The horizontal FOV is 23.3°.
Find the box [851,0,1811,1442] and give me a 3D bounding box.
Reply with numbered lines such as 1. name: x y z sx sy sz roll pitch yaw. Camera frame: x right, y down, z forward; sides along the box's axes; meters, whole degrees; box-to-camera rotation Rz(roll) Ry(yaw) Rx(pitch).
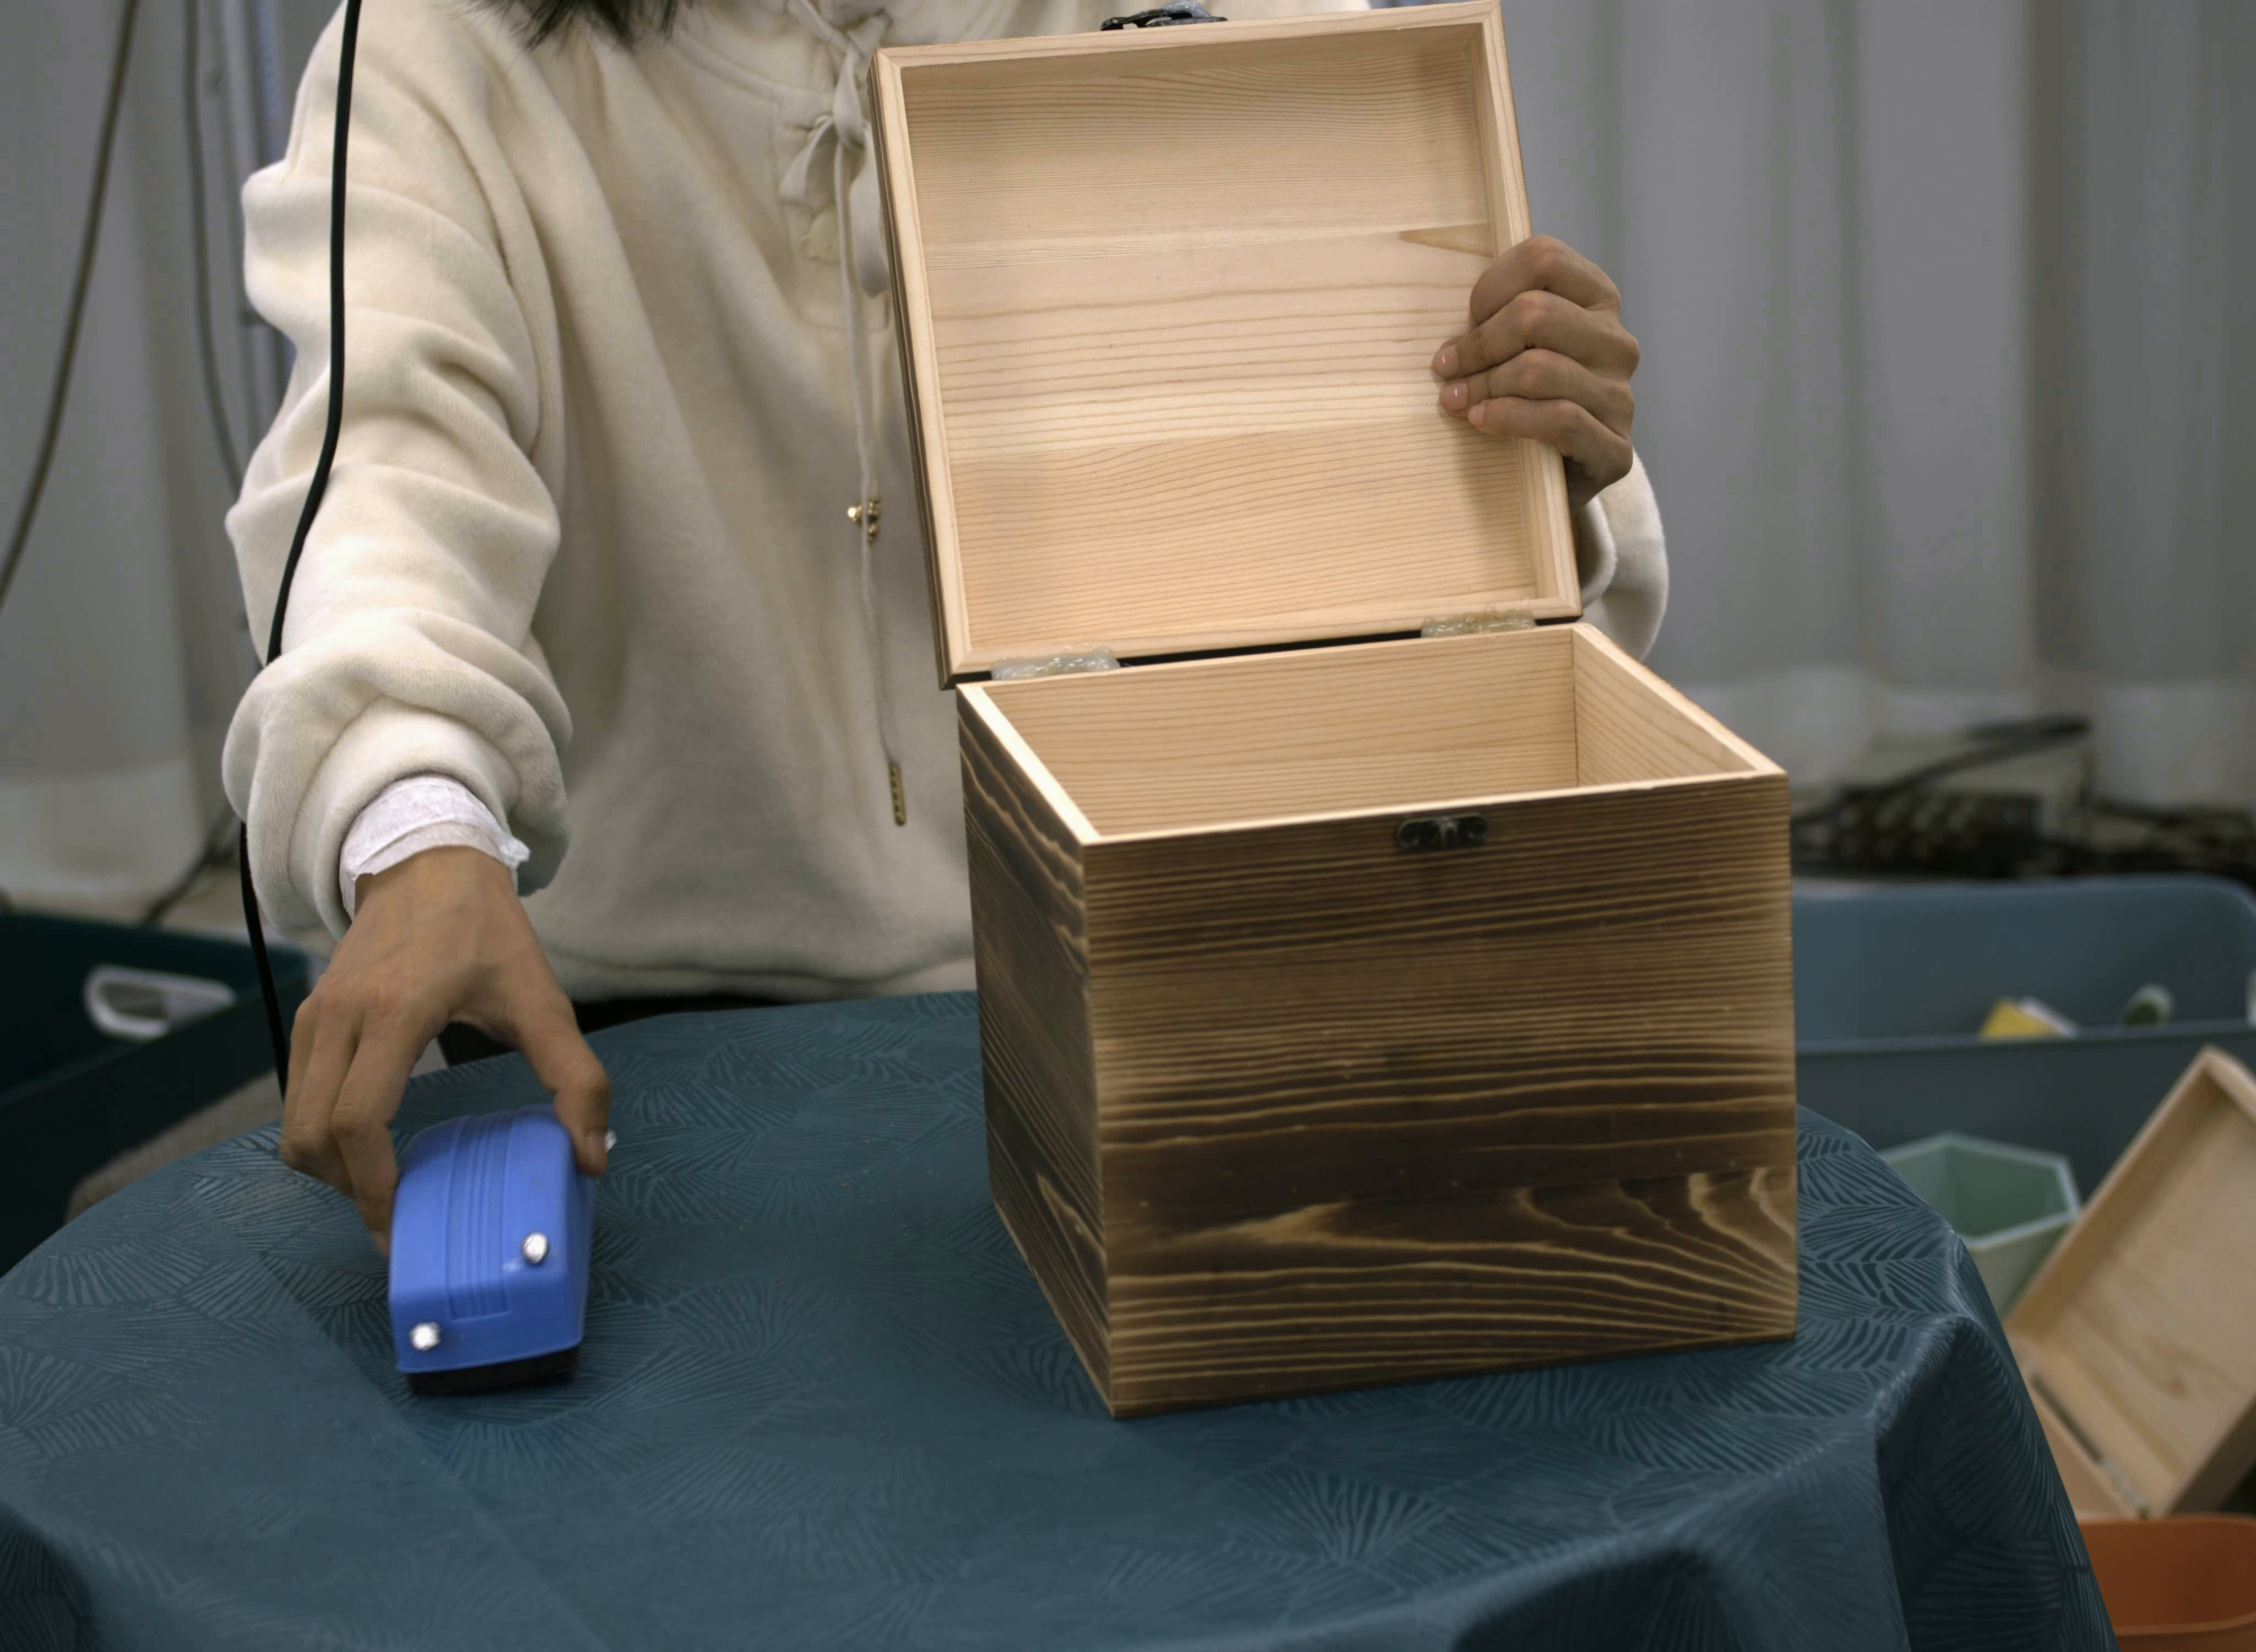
1. box: 0.053 -0.051 1.642 0.208 0.374 0.324 -6 13 -10

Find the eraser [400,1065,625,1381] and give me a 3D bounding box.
1. eraser: -0.184 0.112 1.637 0.053 0.047 0.163 -14 18 3
